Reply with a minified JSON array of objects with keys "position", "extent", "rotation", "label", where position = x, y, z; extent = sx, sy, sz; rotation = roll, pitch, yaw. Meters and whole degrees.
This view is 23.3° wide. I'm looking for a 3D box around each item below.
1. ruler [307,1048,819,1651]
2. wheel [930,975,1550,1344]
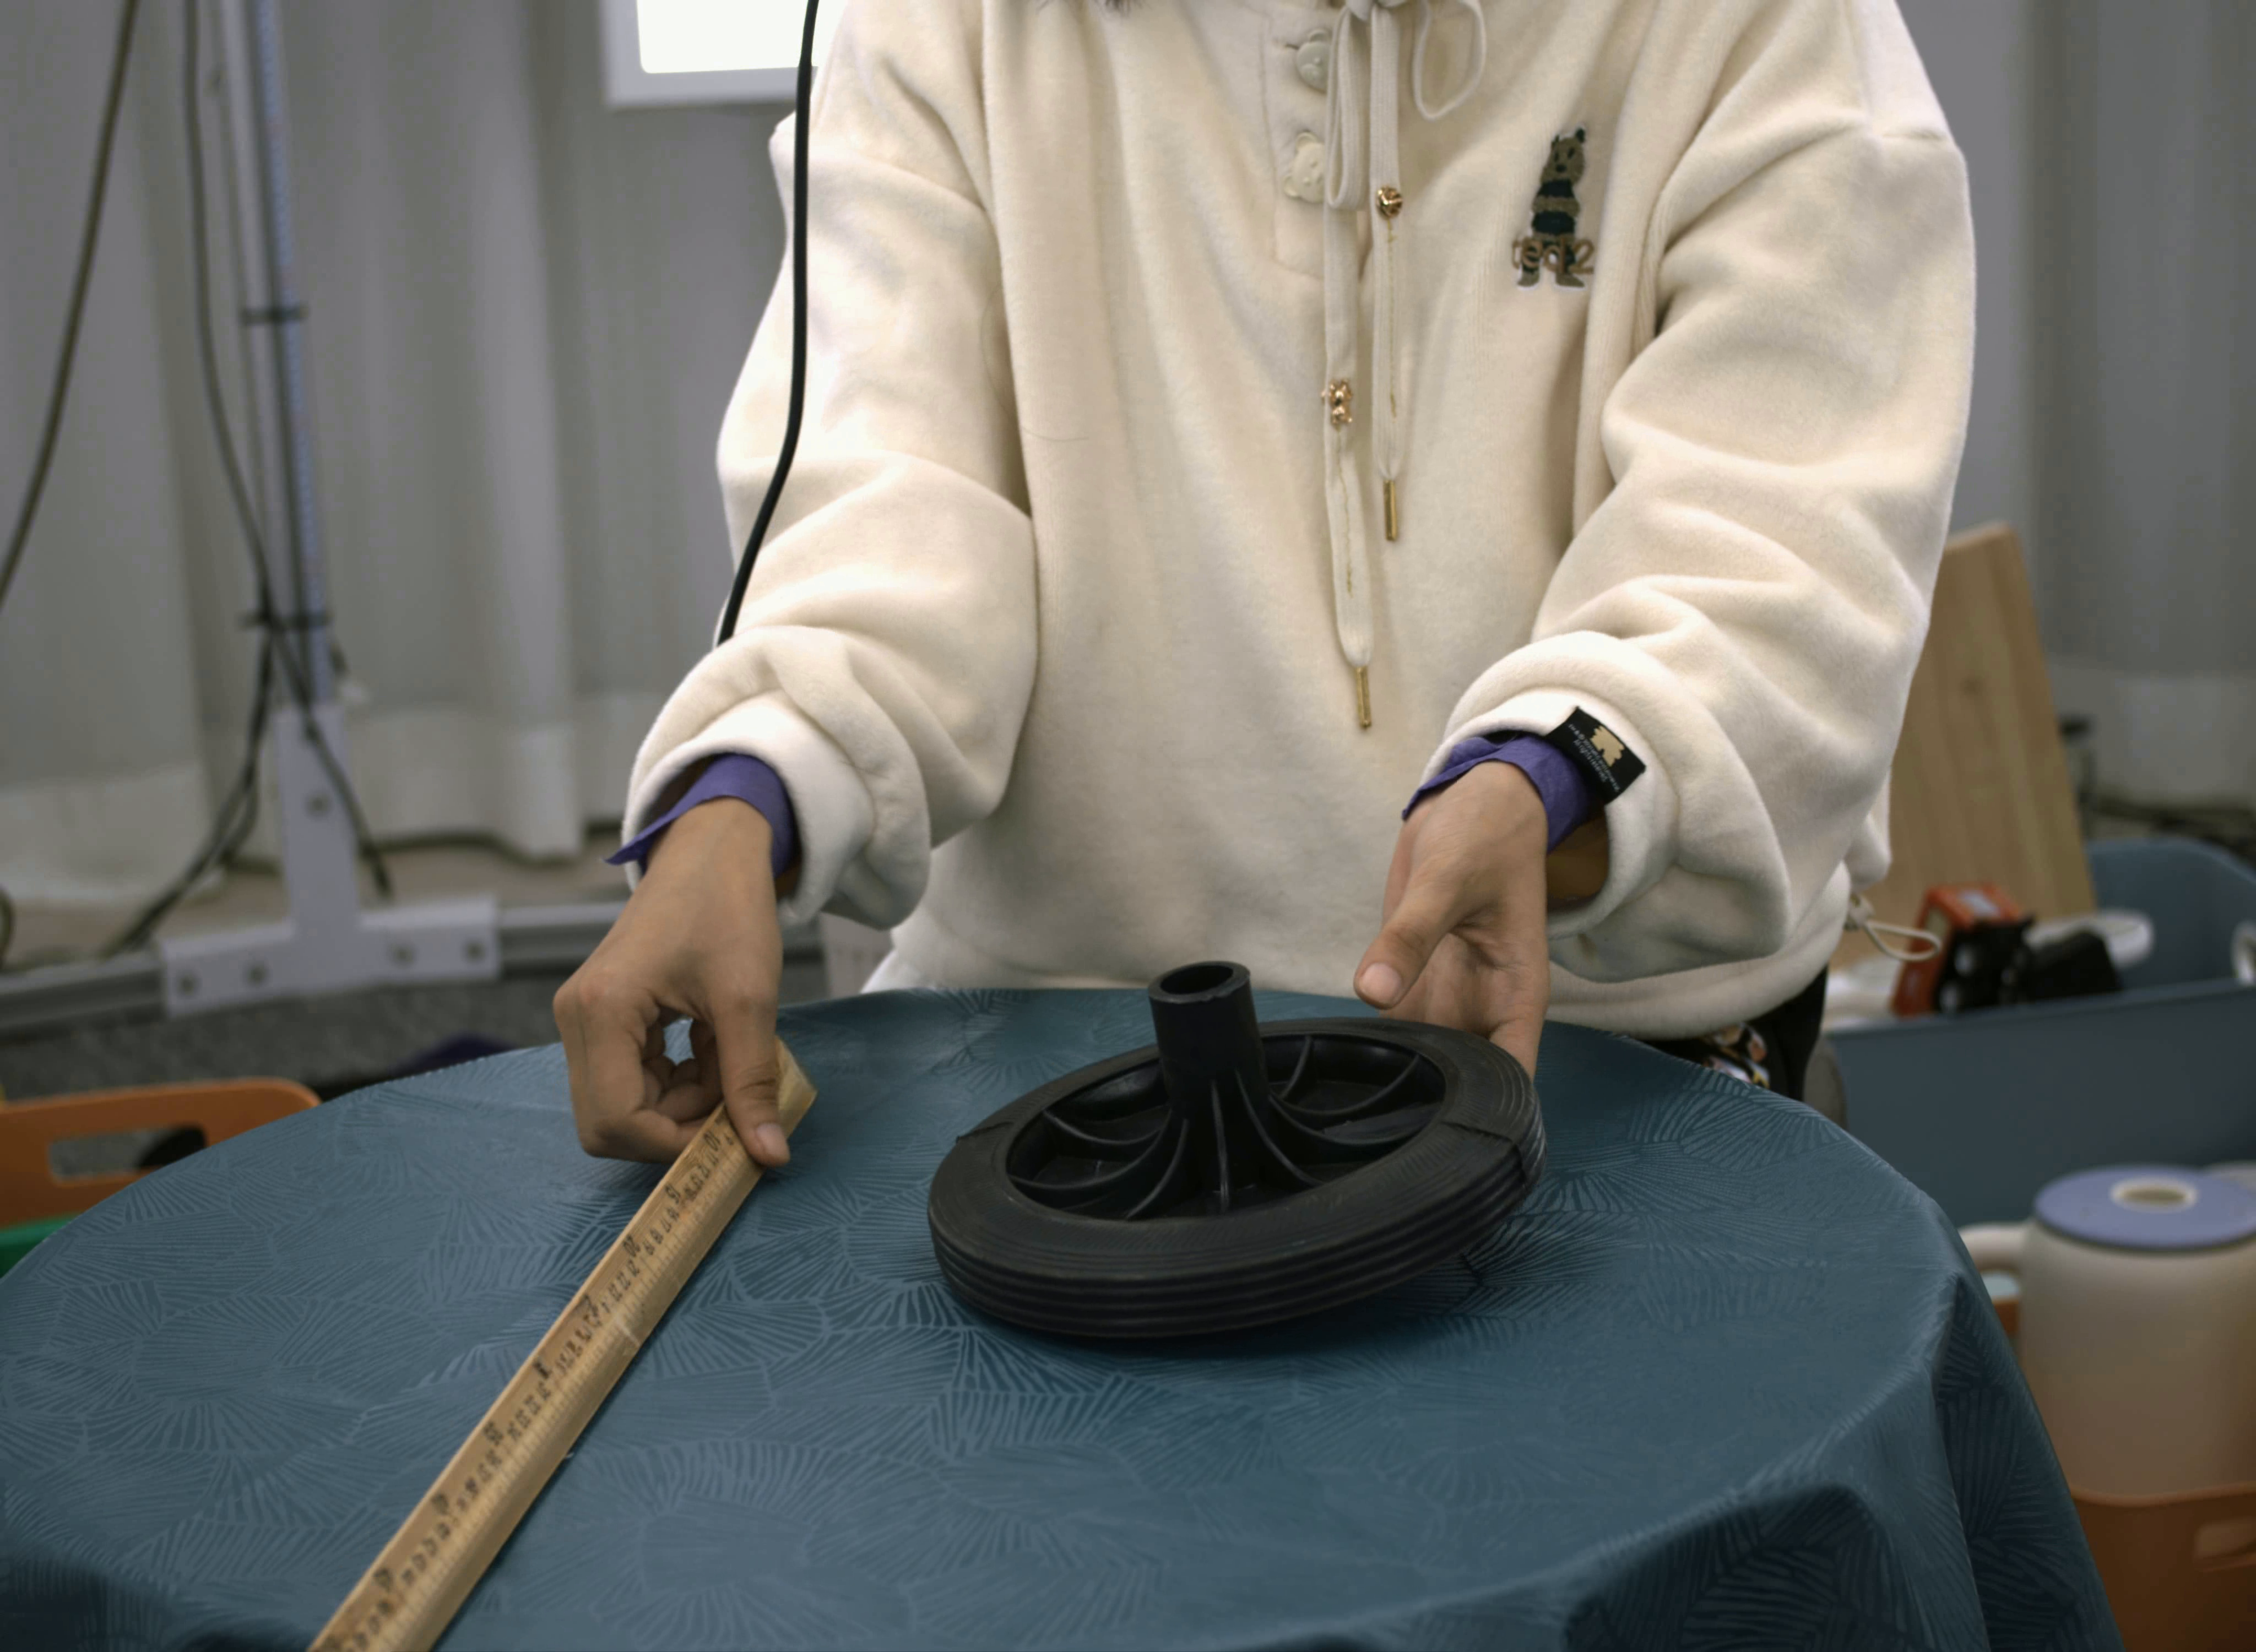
[{"position":[-0.153,0.146,1.581],"extent":[0.006,0.027,0.503],"rotation":[-37,6,17],"label":"ruler"},{"position":[0.030,0.087,1.639],"extent":[0.189,0.078,0.189],"rotation":[-20,21,-24],"label":"wheel"}]
